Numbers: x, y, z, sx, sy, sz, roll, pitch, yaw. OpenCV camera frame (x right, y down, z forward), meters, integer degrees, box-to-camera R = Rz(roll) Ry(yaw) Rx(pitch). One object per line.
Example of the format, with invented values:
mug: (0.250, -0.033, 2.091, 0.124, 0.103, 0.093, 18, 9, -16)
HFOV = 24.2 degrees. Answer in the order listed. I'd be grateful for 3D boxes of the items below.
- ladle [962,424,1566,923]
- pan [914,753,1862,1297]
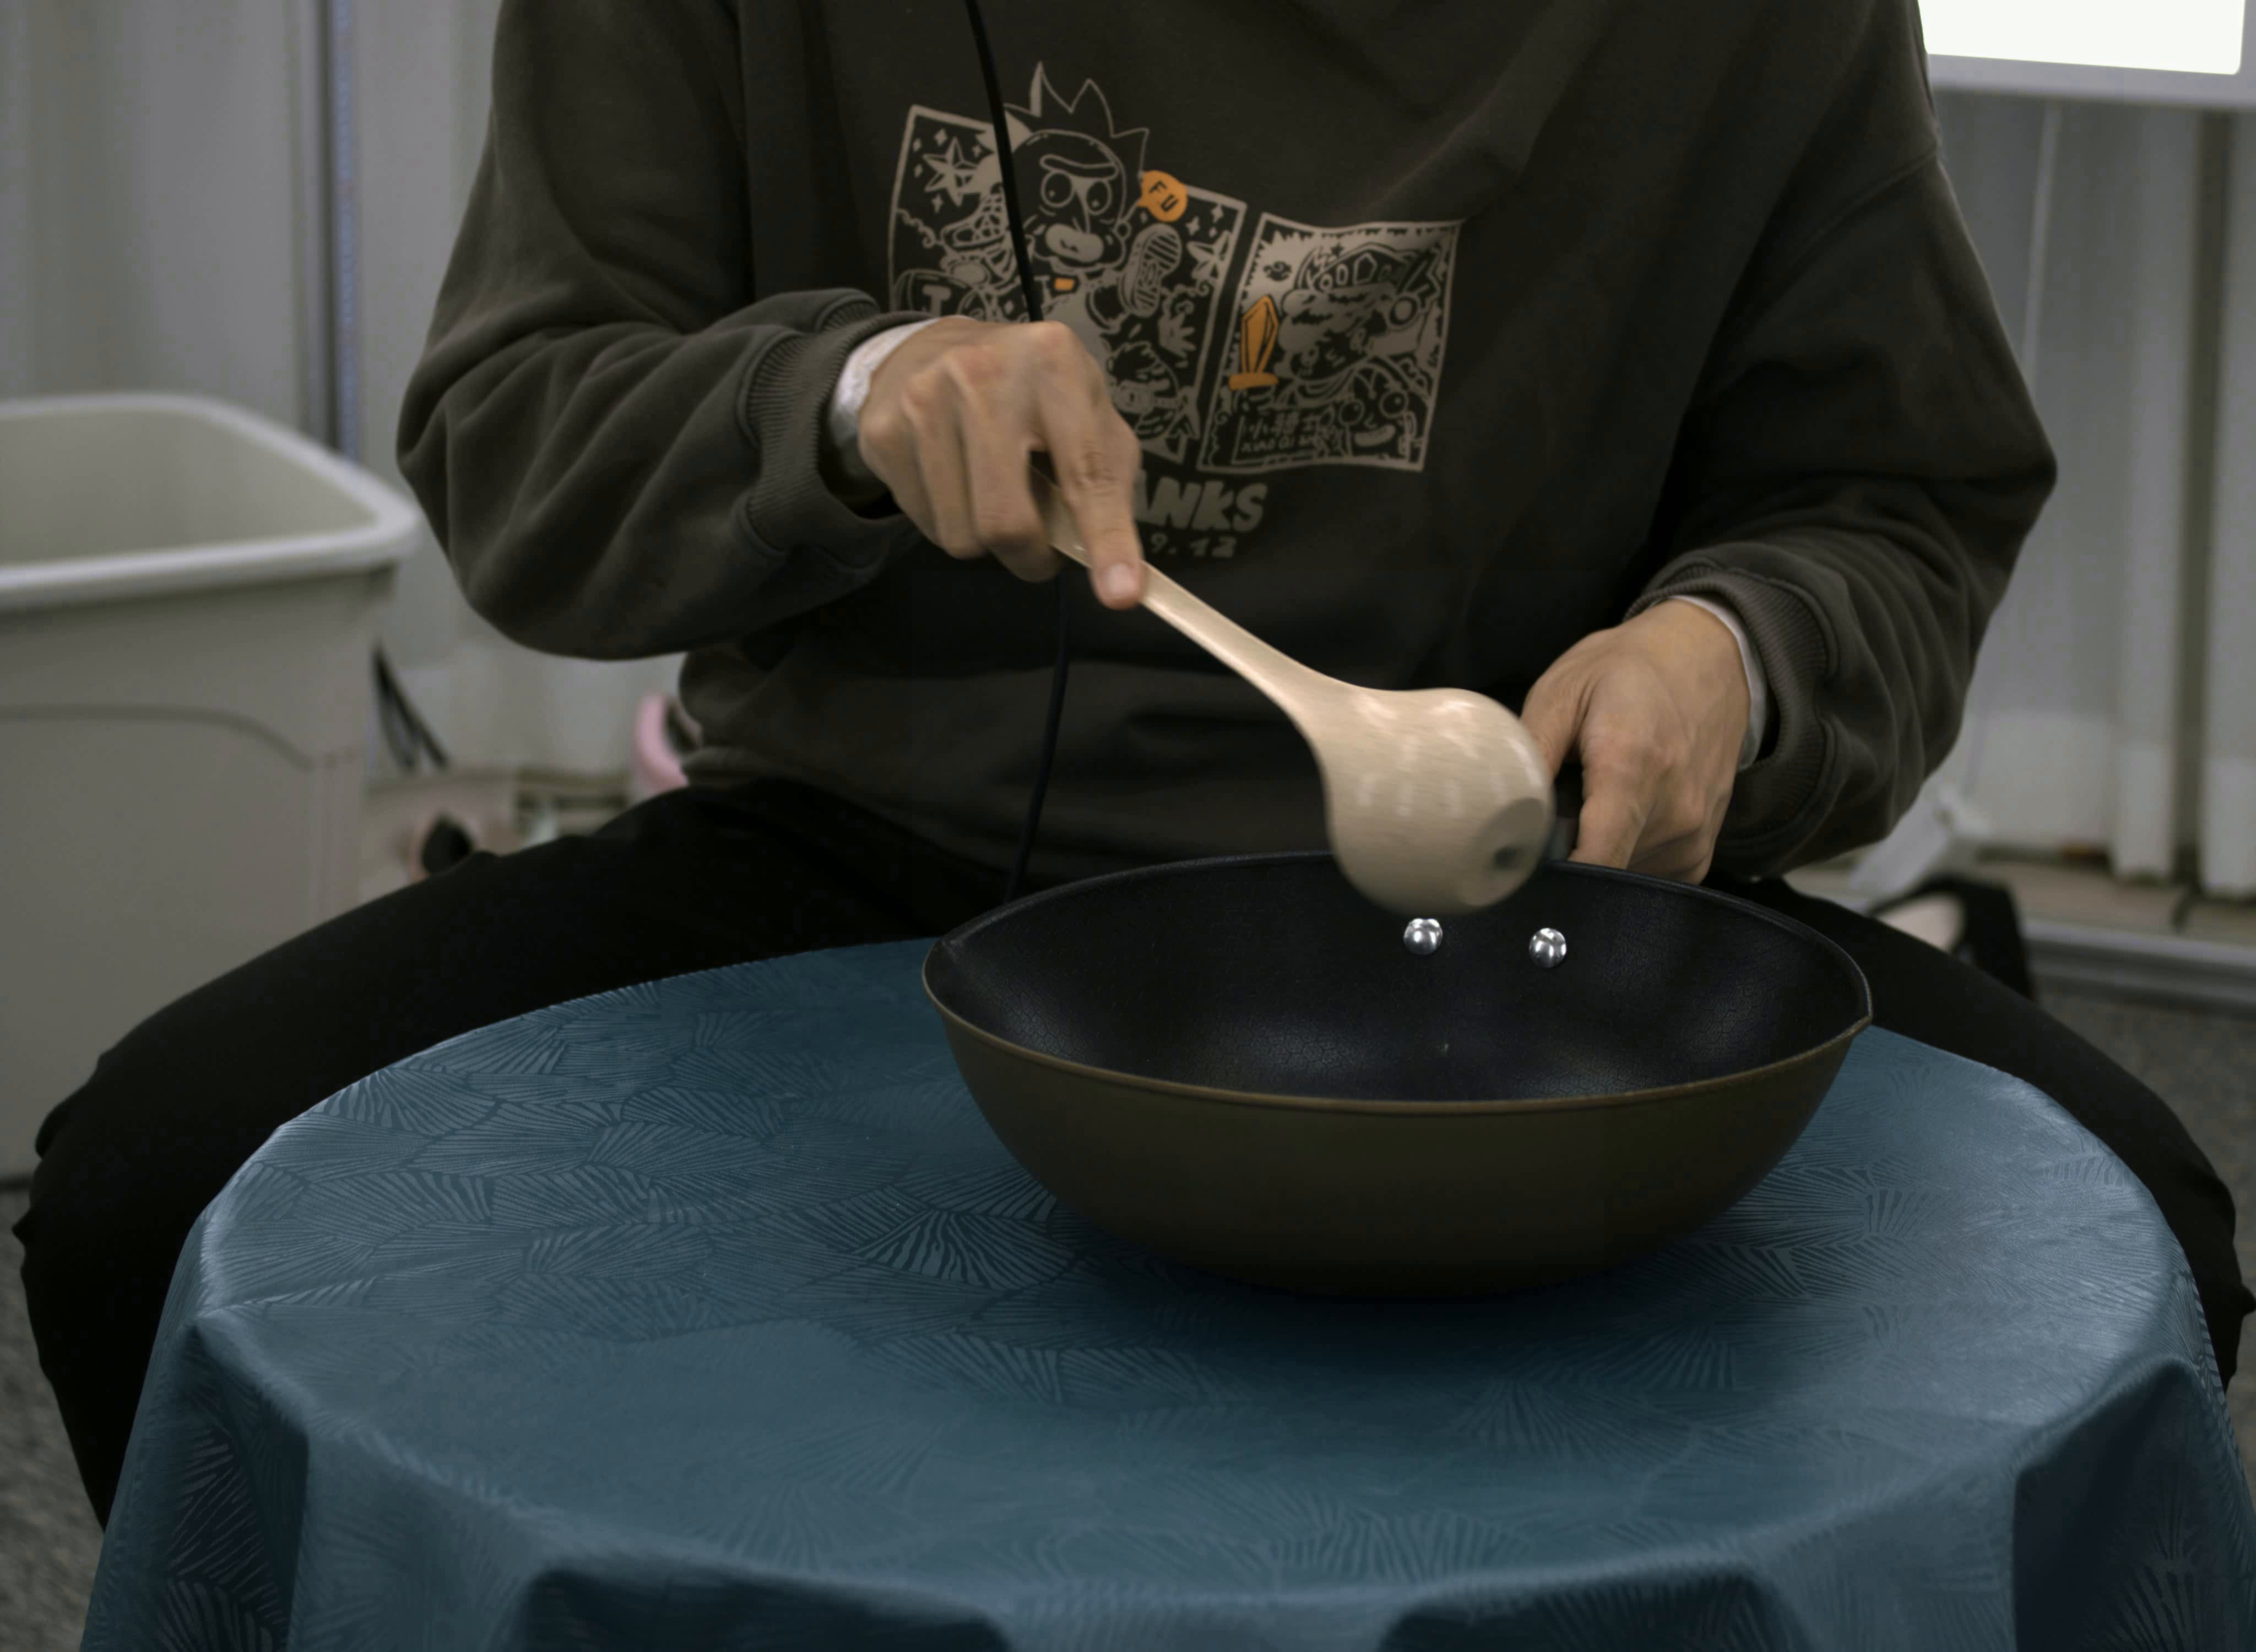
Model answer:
ladle: (0.041, -0.052, 1.690, 0.251, 0.072, 0.074, 38, -3, 38)
pan: (0.102, 0.060, 1.674, 0.286, 0.087, 0.463, 5, 14, 15)
